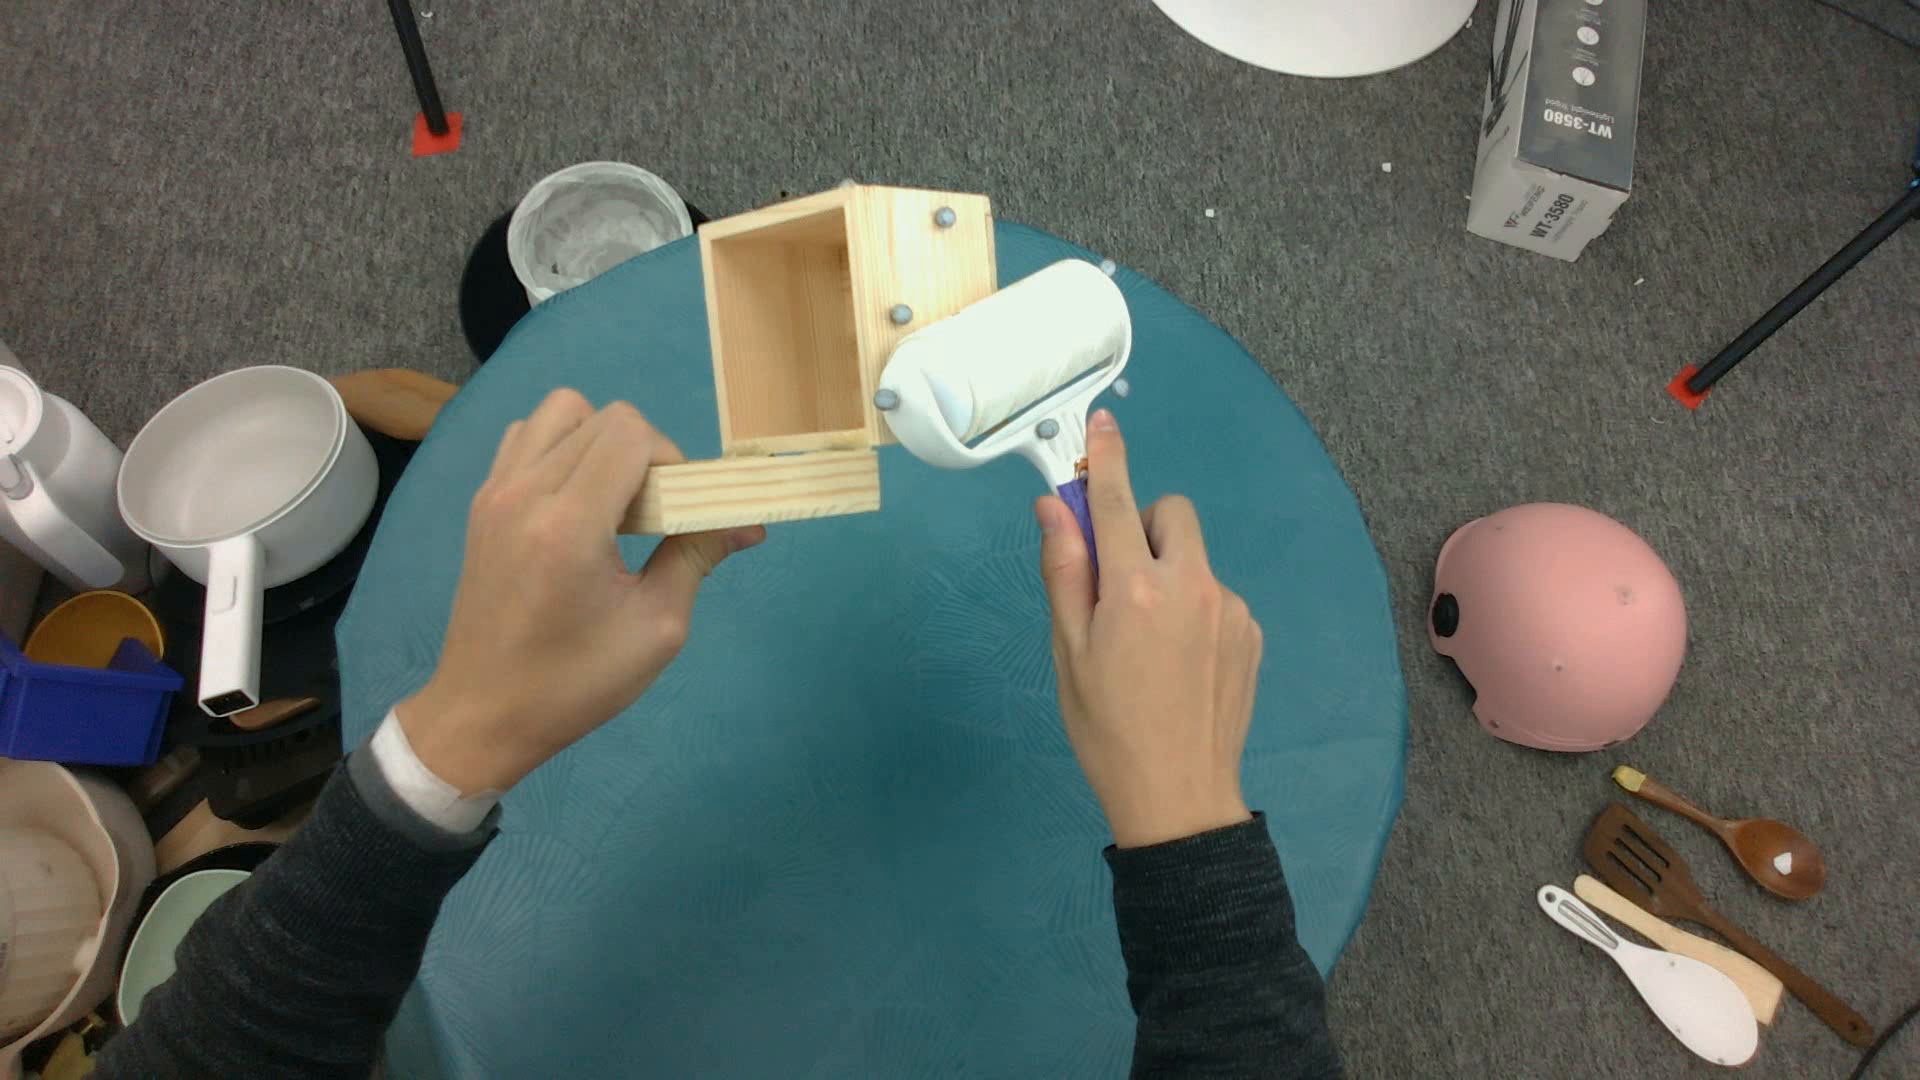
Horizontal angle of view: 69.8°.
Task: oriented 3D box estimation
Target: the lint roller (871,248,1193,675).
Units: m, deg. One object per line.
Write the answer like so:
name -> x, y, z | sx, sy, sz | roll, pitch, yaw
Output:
lint roller -> 0.050, -0.026, 0.555 | 0.133, 0.050, 0.181 | -32, 89, -43

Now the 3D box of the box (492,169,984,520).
box -> -0.086, -0.081, 0.553 | 0.185, 0.102, 0.134 | -11, 97, -46
